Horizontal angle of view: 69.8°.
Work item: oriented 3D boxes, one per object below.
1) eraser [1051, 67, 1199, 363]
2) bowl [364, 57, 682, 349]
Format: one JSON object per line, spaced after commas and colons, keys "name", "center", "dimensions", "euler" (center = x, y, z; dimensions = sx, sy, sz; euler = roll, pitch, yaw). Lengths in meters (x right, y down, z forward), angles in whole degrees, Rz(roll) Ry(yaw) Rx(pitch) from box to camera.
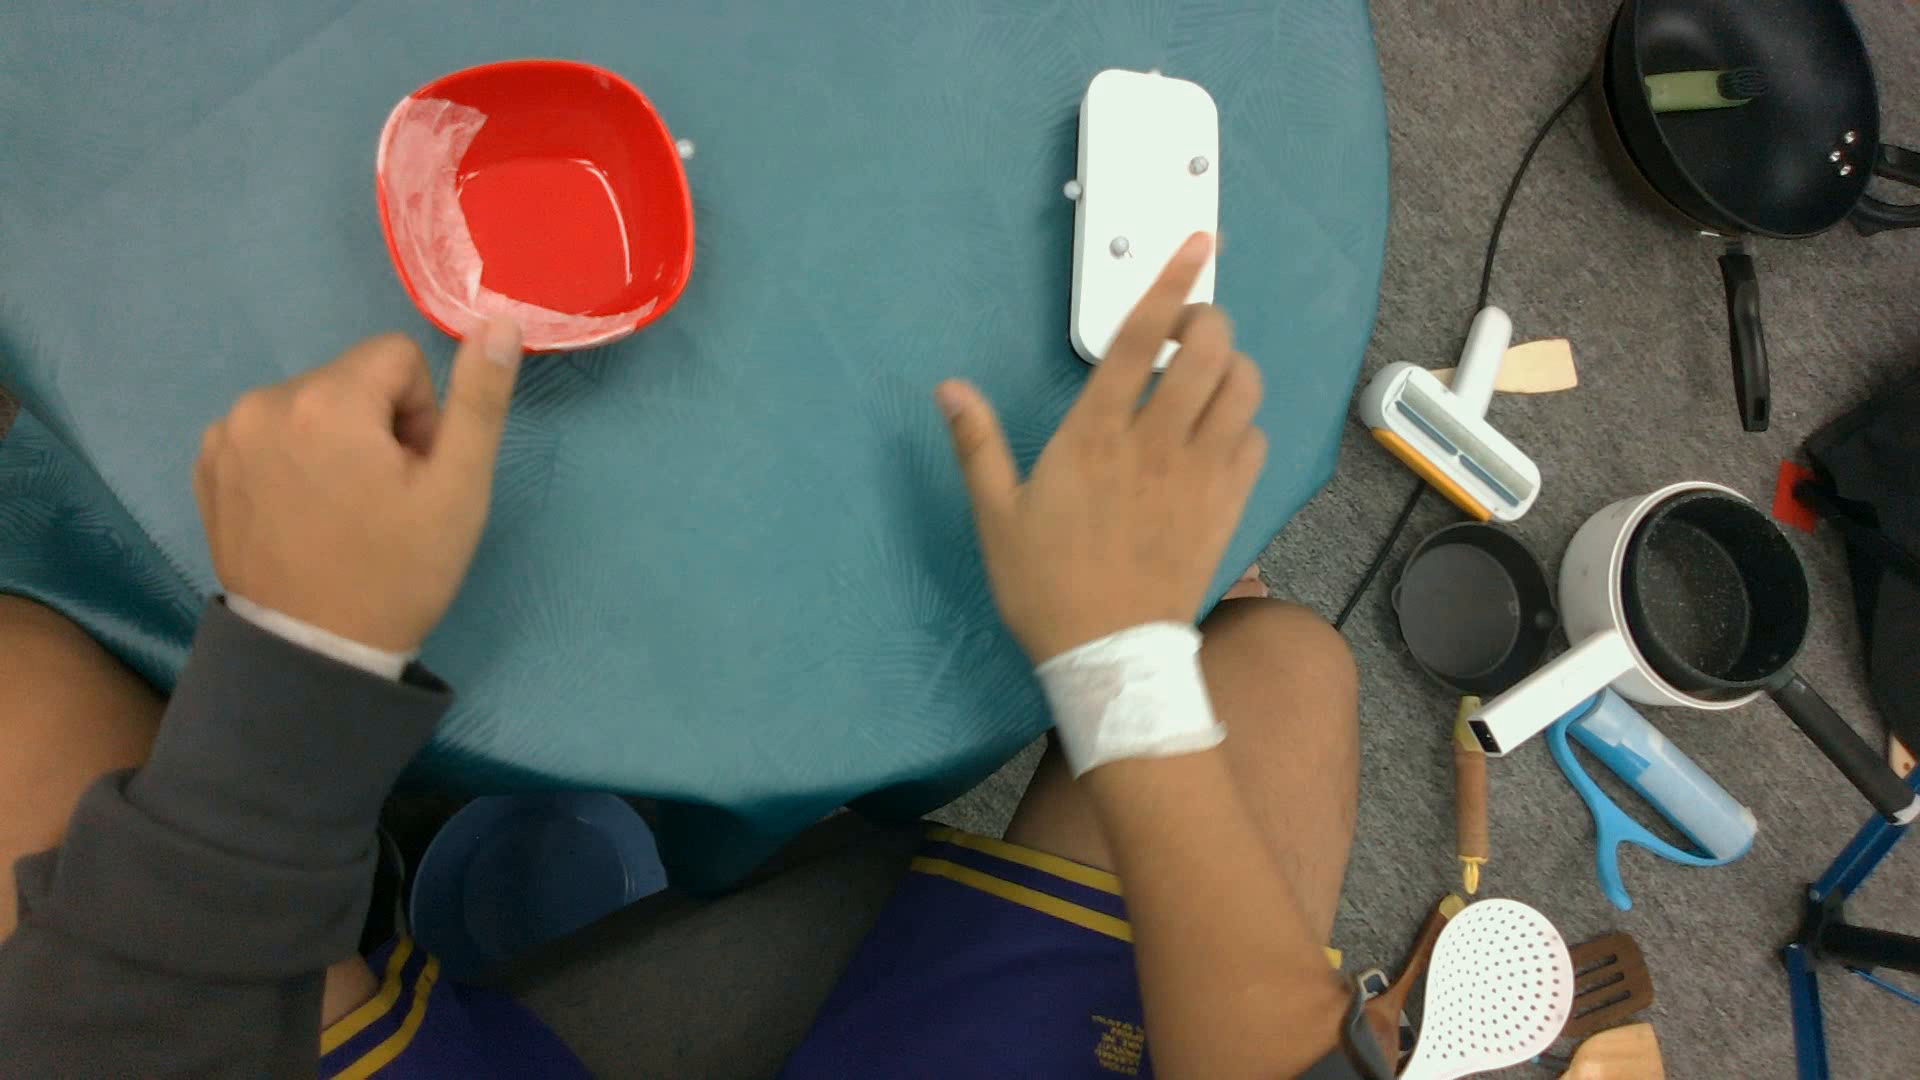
{"name": "eraser", "center": [0.072, -0.145, 0.613], "dimensions": [0.063, 0.034, 0.131], "euler": [6, 80, -13]}
{"name": "bowl", "center": [-0.167, -0.124, 0.535], "dimensions": [0.119, 0.051, 0.119], "euler": [2, 82, -16]}
